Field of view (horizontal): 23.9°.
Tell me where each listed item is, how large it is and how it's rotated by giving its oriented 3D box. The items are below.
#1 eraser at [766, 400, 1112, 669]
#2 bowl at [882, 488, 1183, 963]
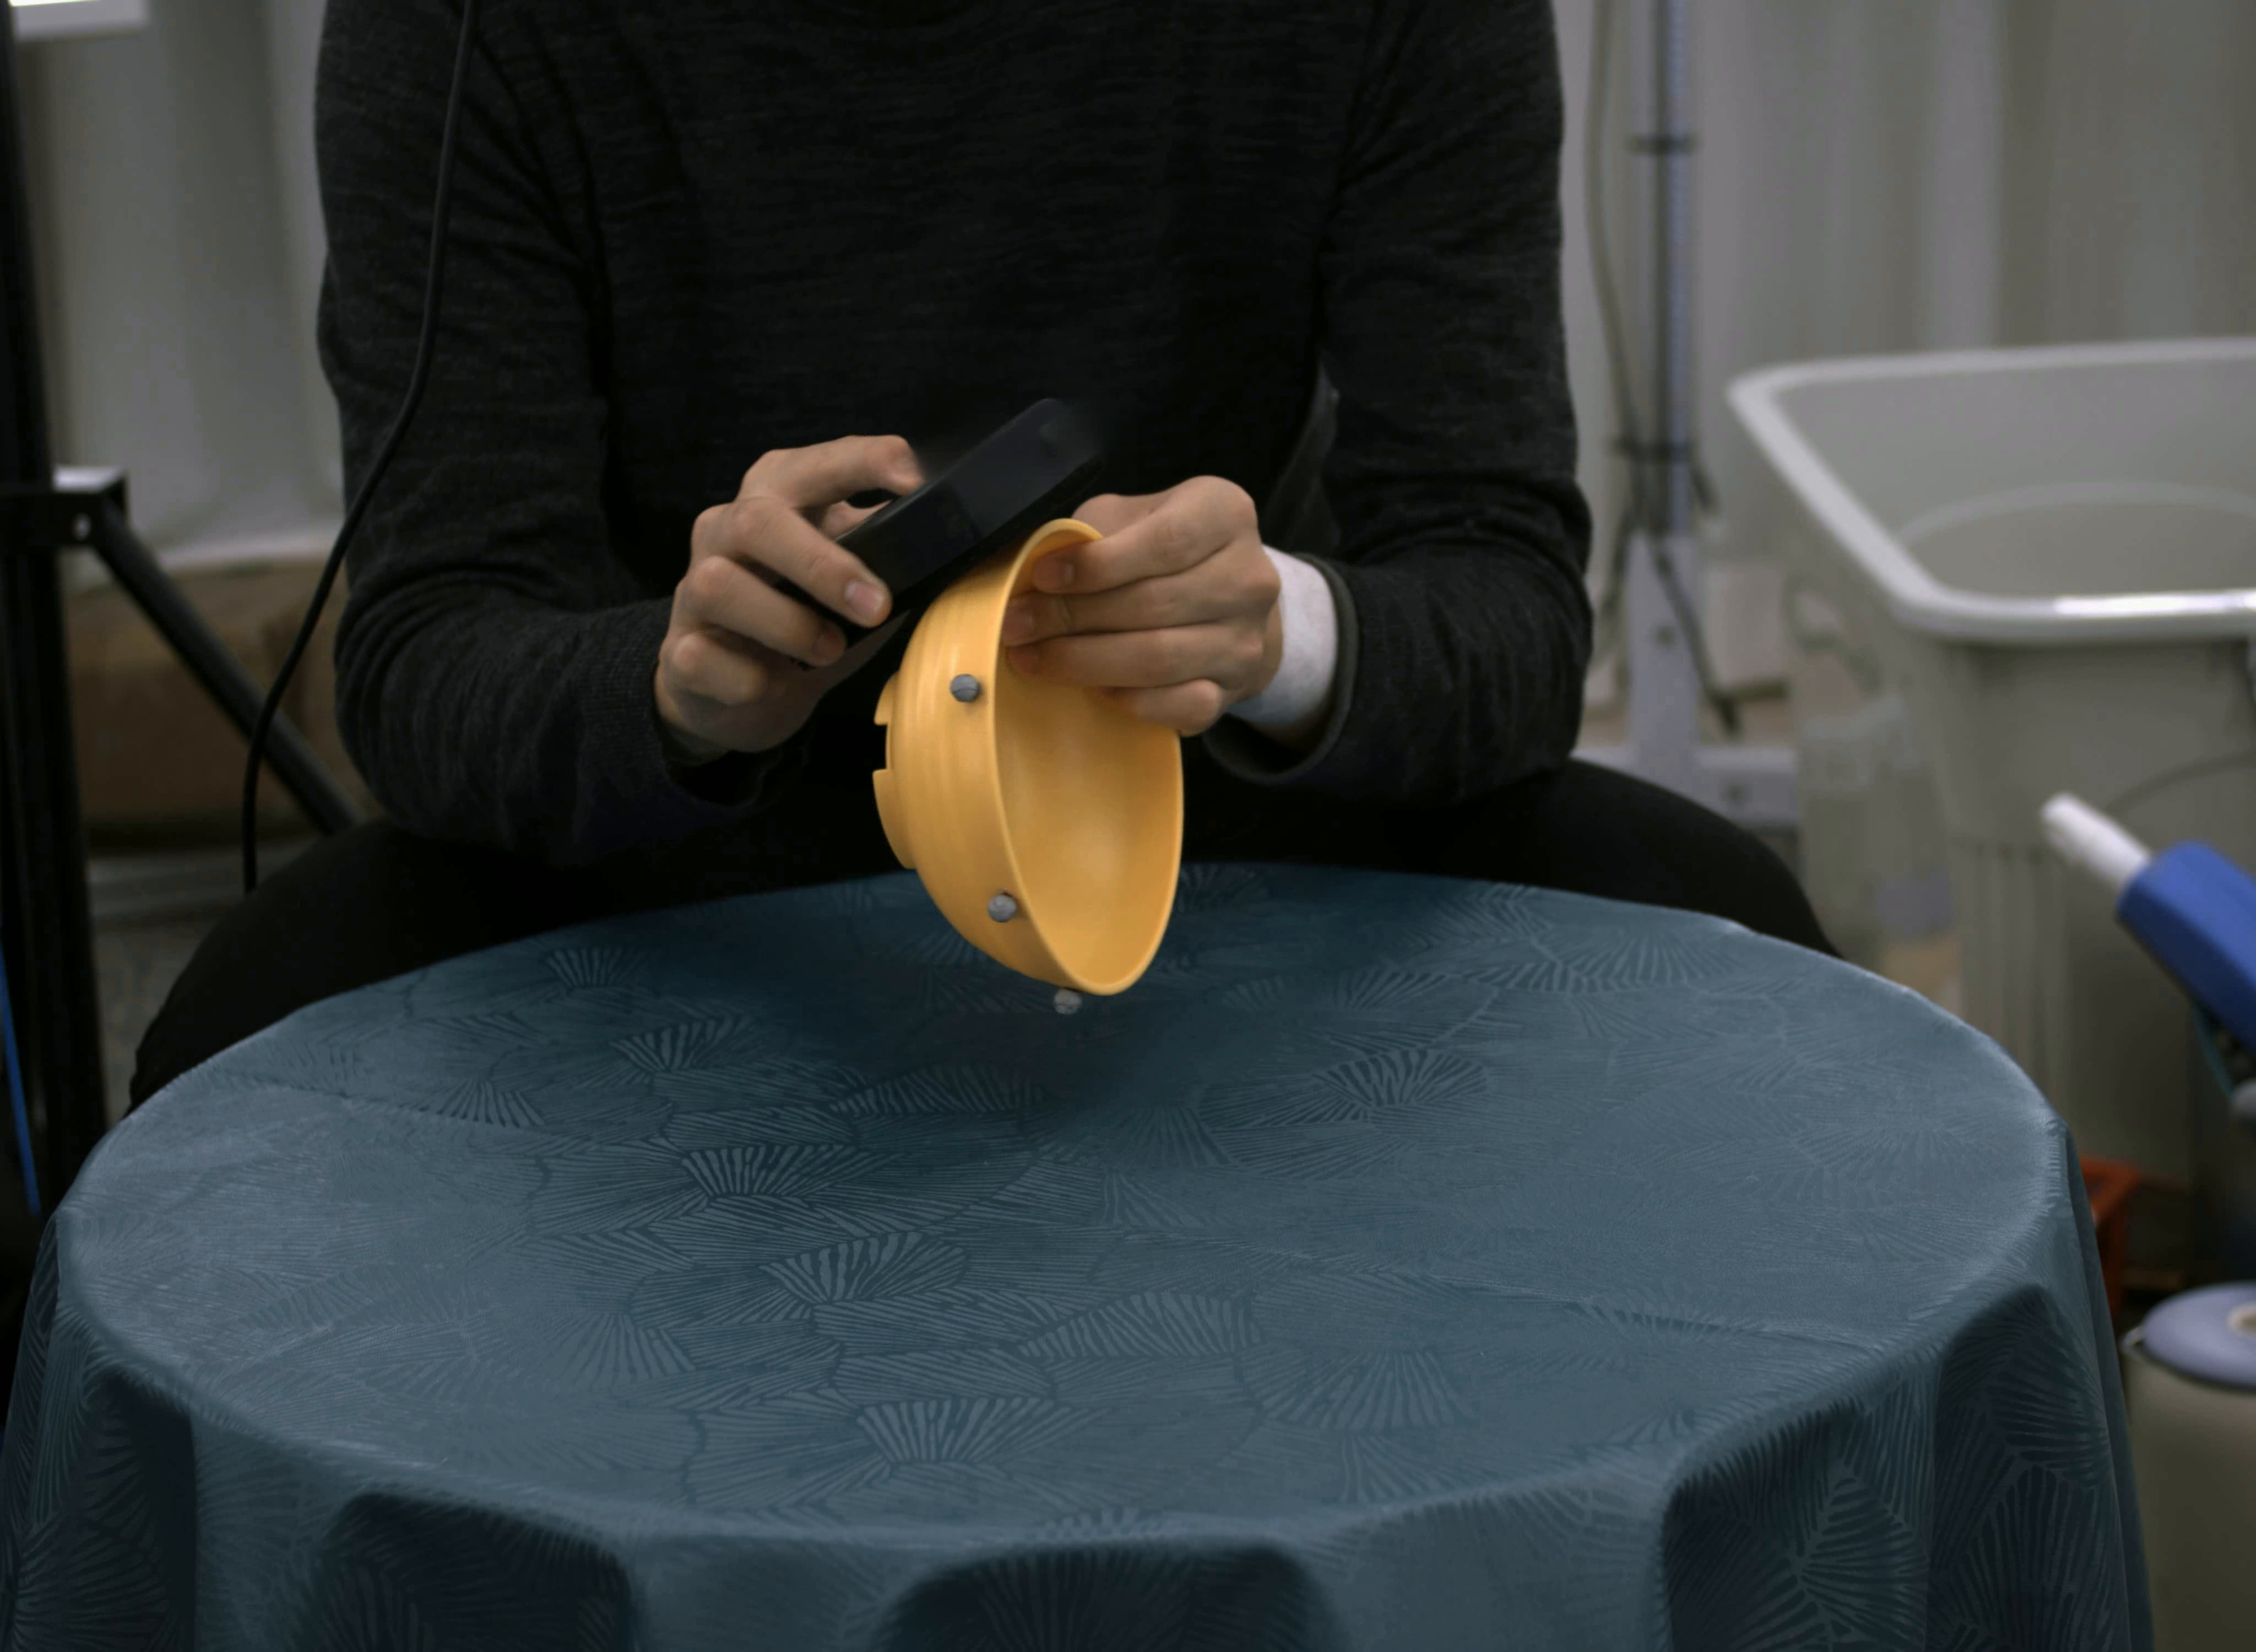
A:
[{"bbox_3d":[-0.058,-0.088,1.620,0.052,0.030,0.127,-34,2,-37],"label":"eraser"},{"bbox_3d":[-0.035,-0.028,1.619,0.061,0.145,0.143,-5,14,23],"label":"bowl"}]
